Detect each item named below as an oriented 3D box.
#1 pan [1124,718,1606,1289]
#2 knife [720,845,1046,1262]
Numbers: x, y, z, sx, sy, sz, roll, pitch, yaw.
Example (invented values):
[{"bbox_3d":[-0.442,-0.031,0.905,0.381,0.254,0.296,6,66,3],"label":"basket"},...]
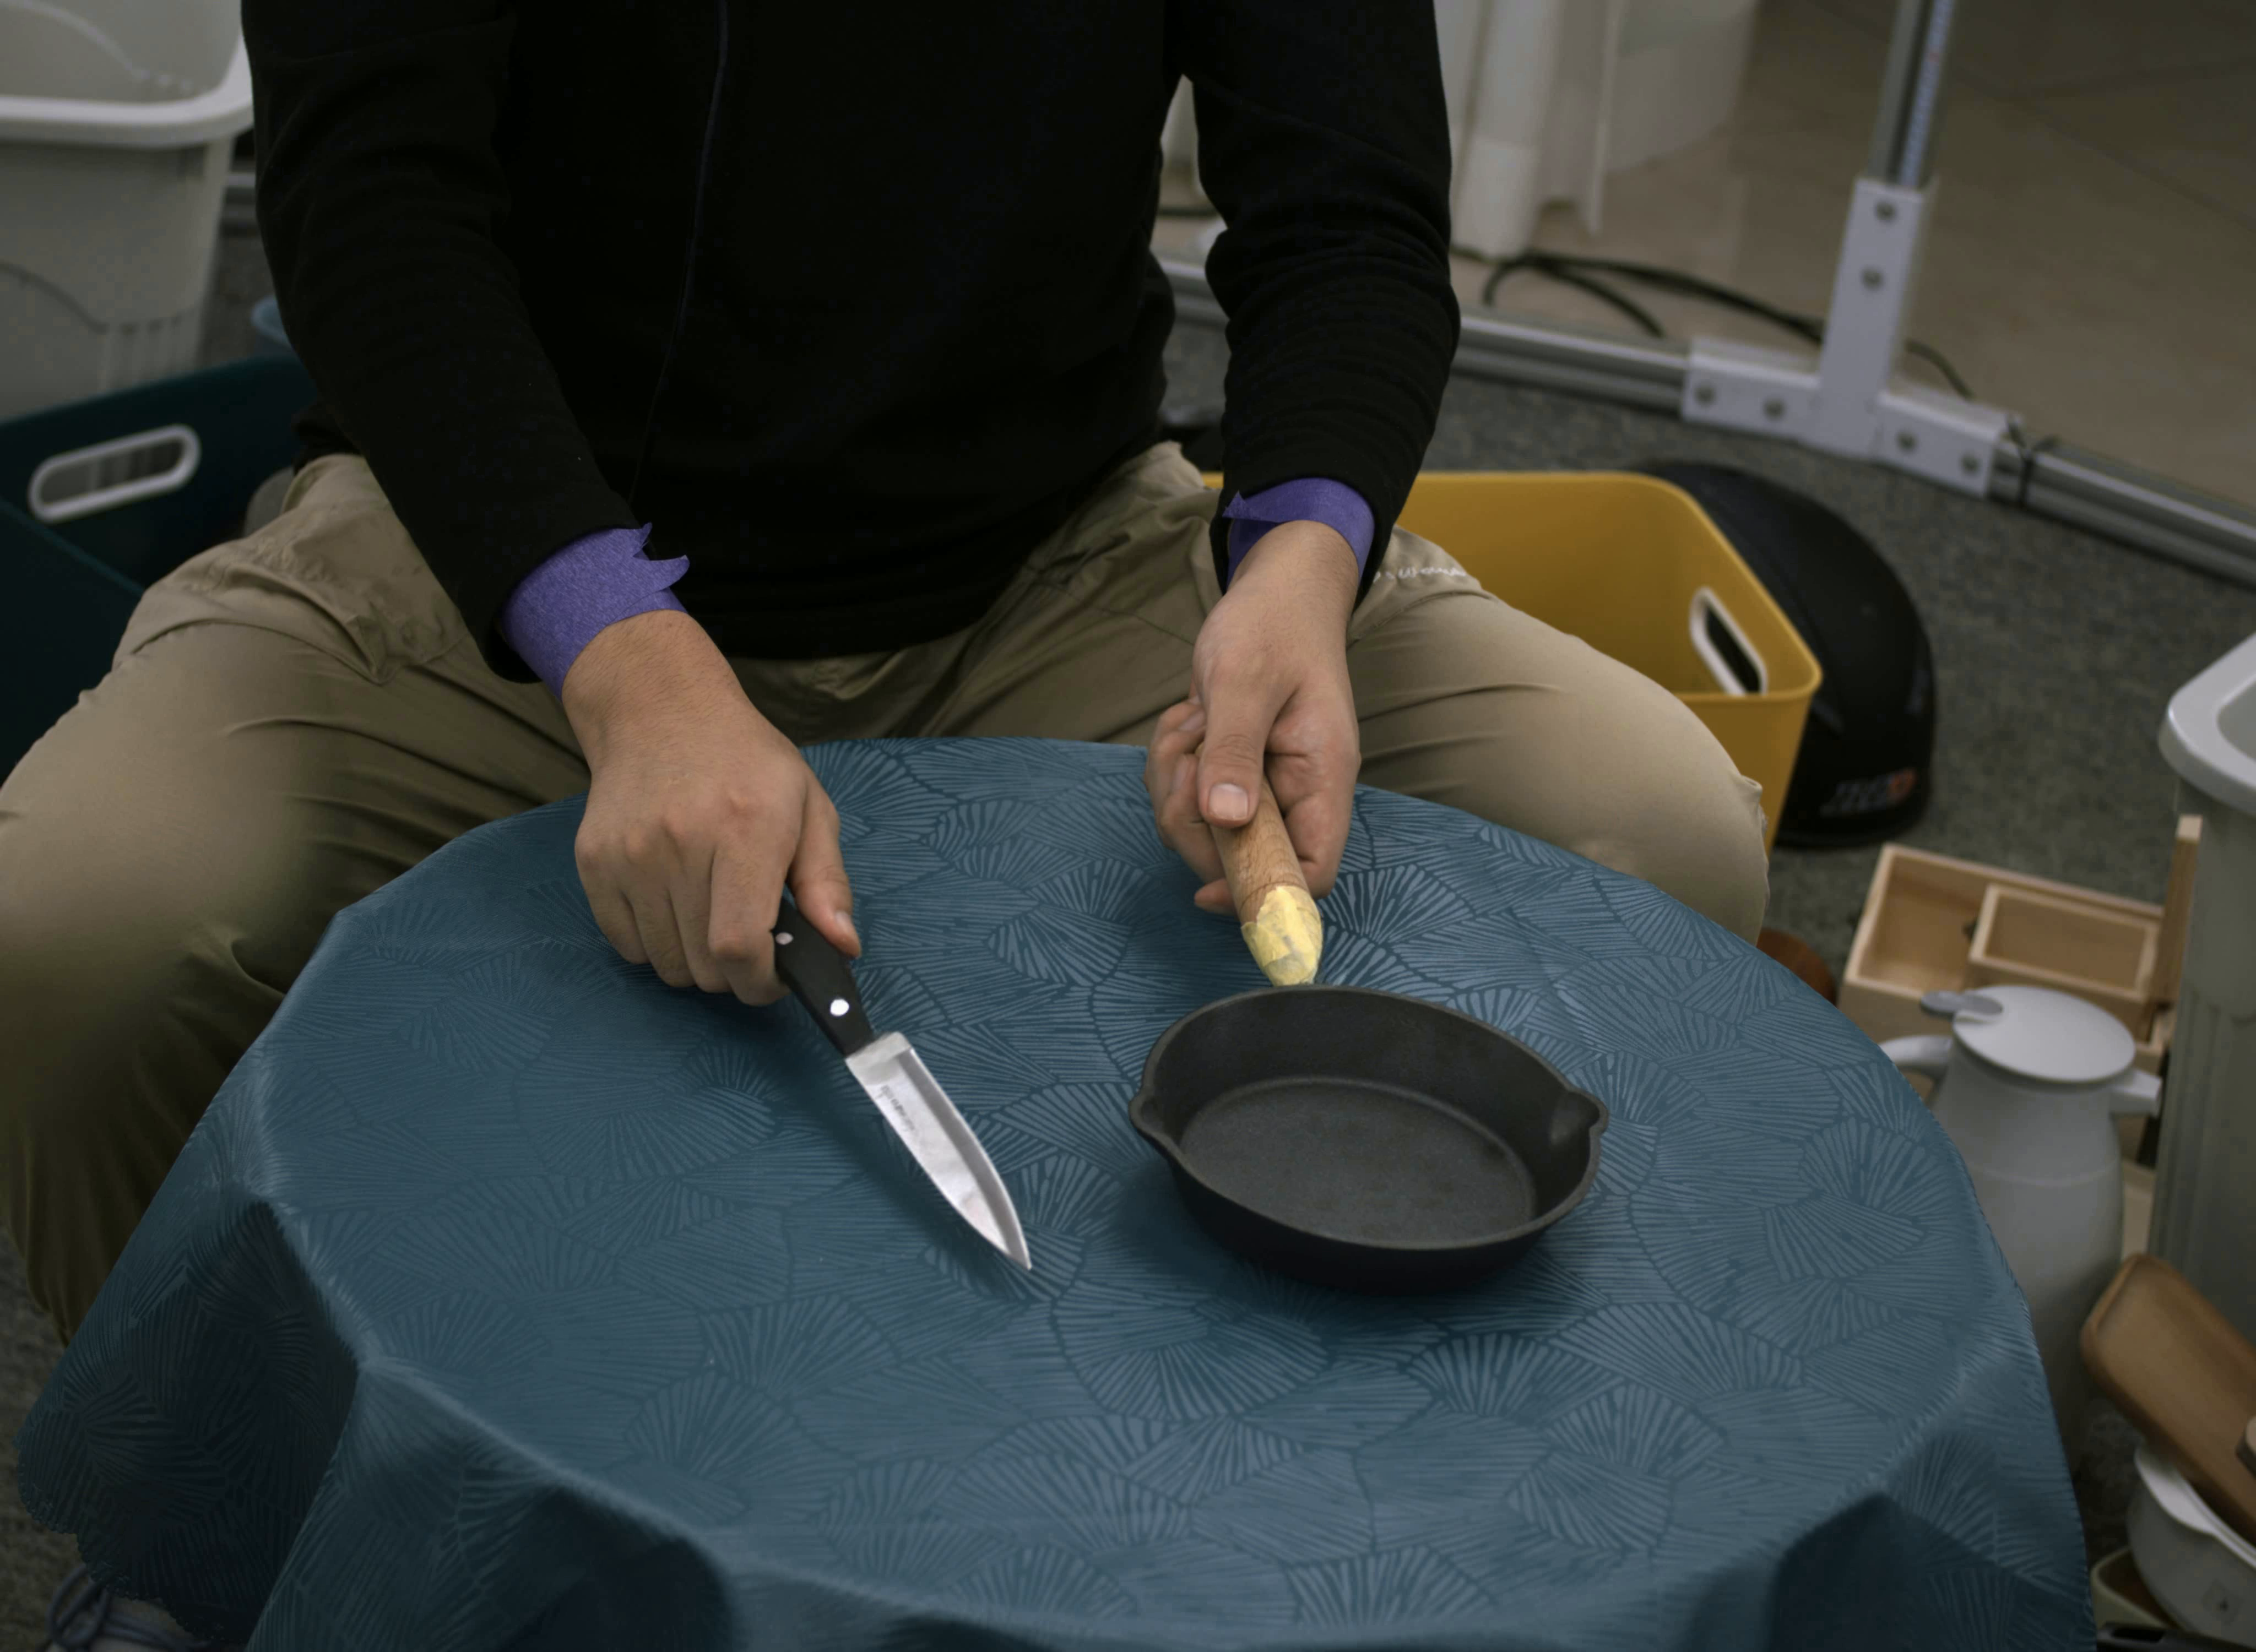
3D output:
[{"bbox_3d":[0.064,0.060,1.873,0.168,0.049,0.327,1,30,-13],"label":"pan"},{"bbox_3d":[-0.086,0.078,1.816,0.024,0.016,0.240,-26,44,-14],"label":"knife"}]
